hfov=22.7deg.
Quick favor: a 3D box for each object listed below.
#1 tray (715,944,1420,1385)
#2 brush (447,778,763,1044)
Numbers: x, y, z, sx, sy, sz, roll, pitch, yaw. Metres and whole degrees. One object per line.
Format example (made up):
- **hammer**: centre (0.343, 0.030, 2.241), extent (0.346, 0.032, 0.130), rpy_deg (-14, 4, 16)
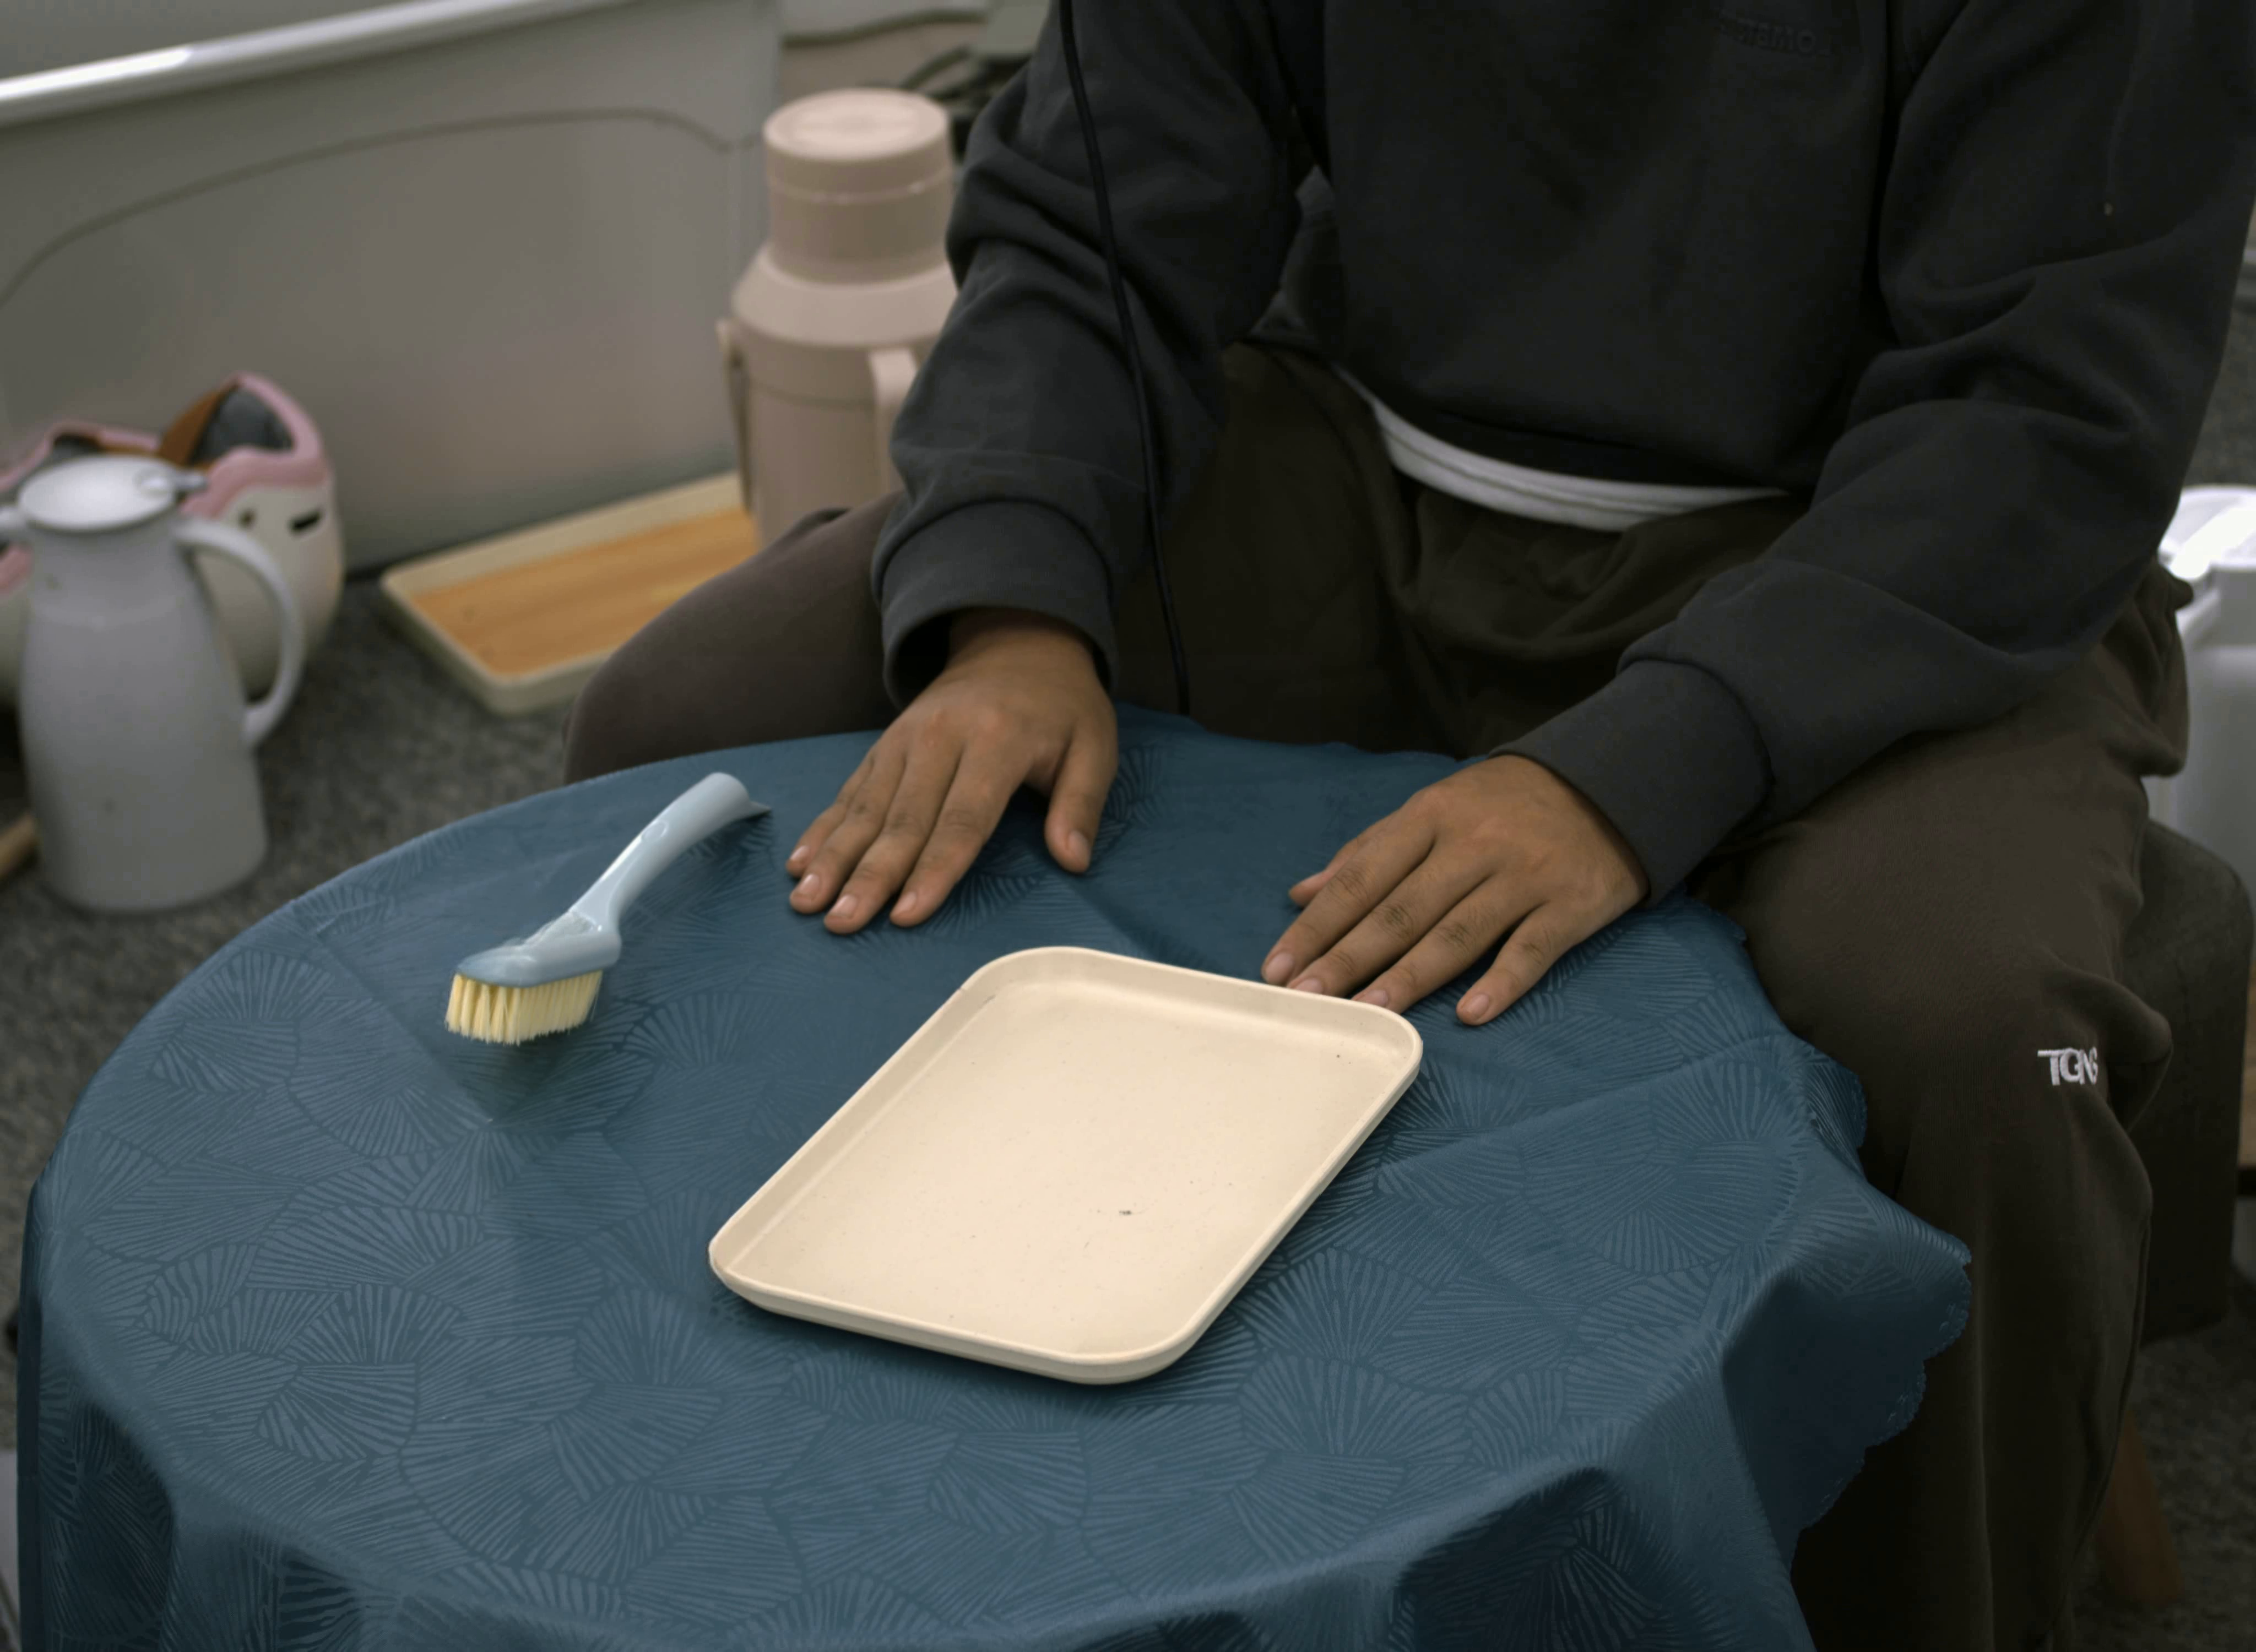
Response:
- **tray**: centre (-0.017, 0.111, 1.867), extent (0.170, 0.017, 0.244), rpy_deg (11, 30, 23)
- **brush**: centre (-0.185, 0.031, 2.023), extent (0.037, 0.049, 0.232), rpy_deg (12, 22, 15)
